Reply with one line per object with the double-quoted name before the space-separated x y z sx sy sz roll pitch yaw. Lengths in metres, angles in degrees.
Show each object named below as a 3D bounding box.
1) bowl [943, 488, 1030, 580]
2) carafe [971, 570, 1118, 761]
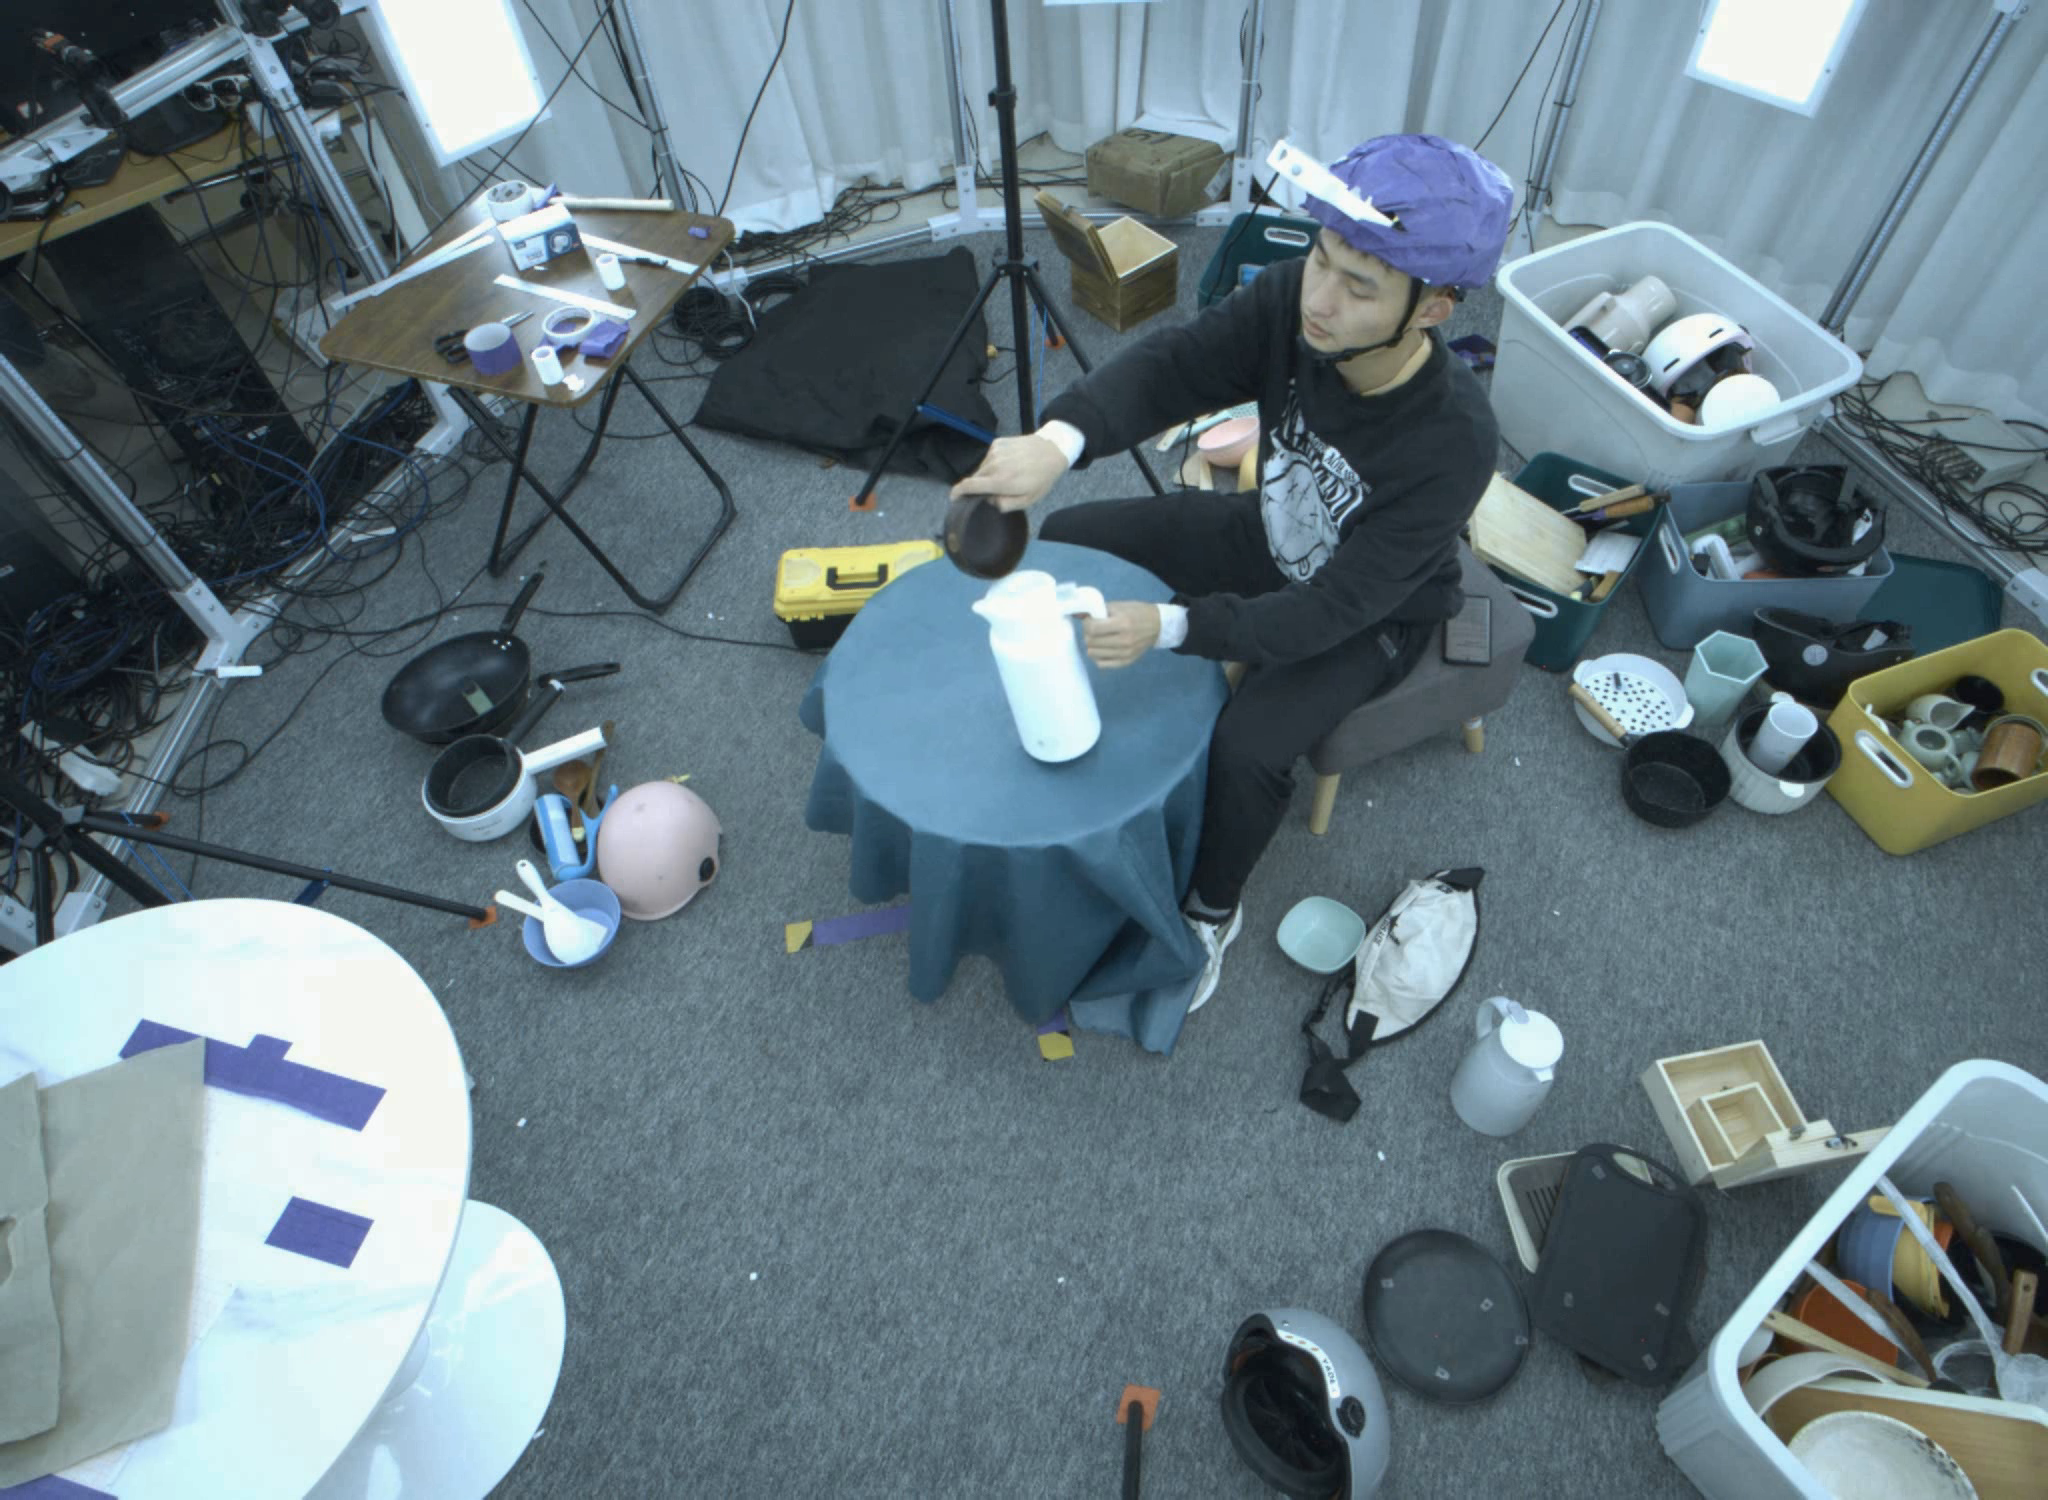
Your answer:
"bowl" -0.057 -0.281 1.576 0.068 0.120 0.118 20 56 41
"carafe" 0.042 -0.117 1.689 0.172 0.273 0.122 -10 43 8
